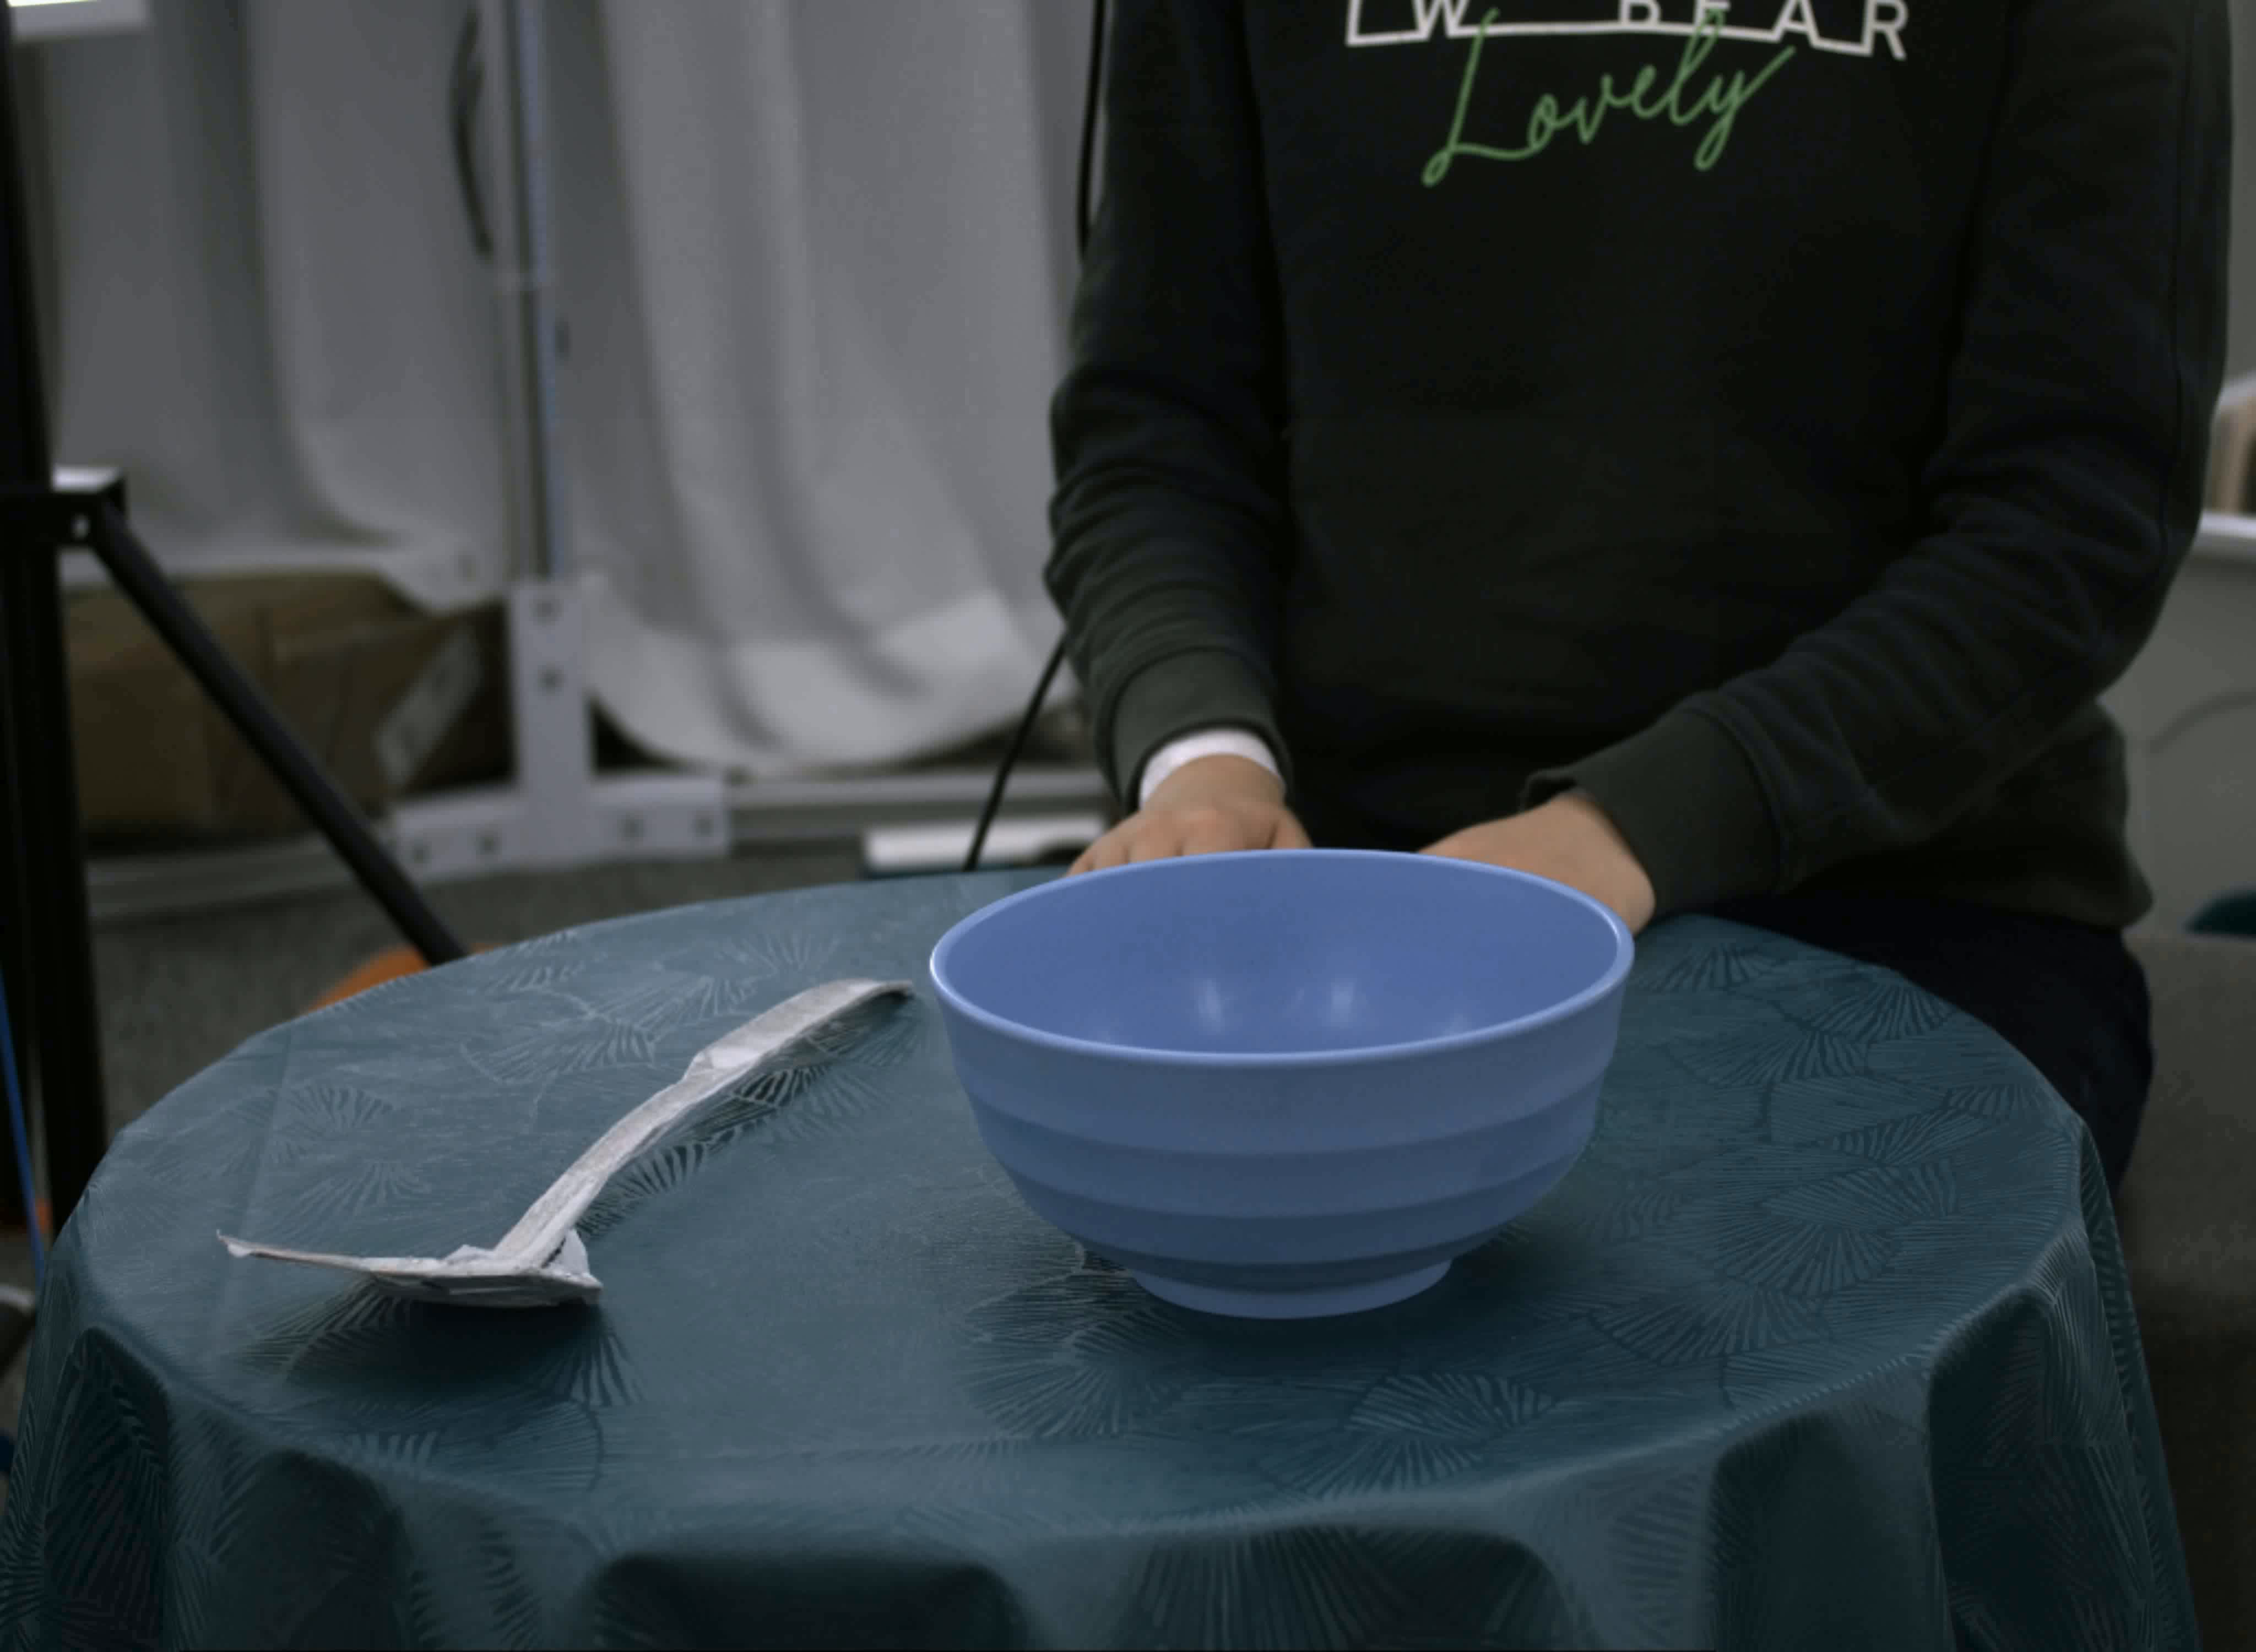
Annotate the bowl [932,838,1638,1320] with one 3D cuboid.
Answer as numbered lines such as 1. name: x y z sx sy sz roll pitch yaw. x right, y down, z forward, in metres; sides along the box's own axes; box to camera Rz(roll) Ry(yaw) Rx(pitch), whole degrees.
1. bowl: 0.046 0.077 1.482 0.195 0.095 0.197 -4 17 0

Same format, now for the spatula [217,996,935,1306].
1. spatula: -0.141 0.087 1.585 0.100 0.045 0.360 2 17 23
